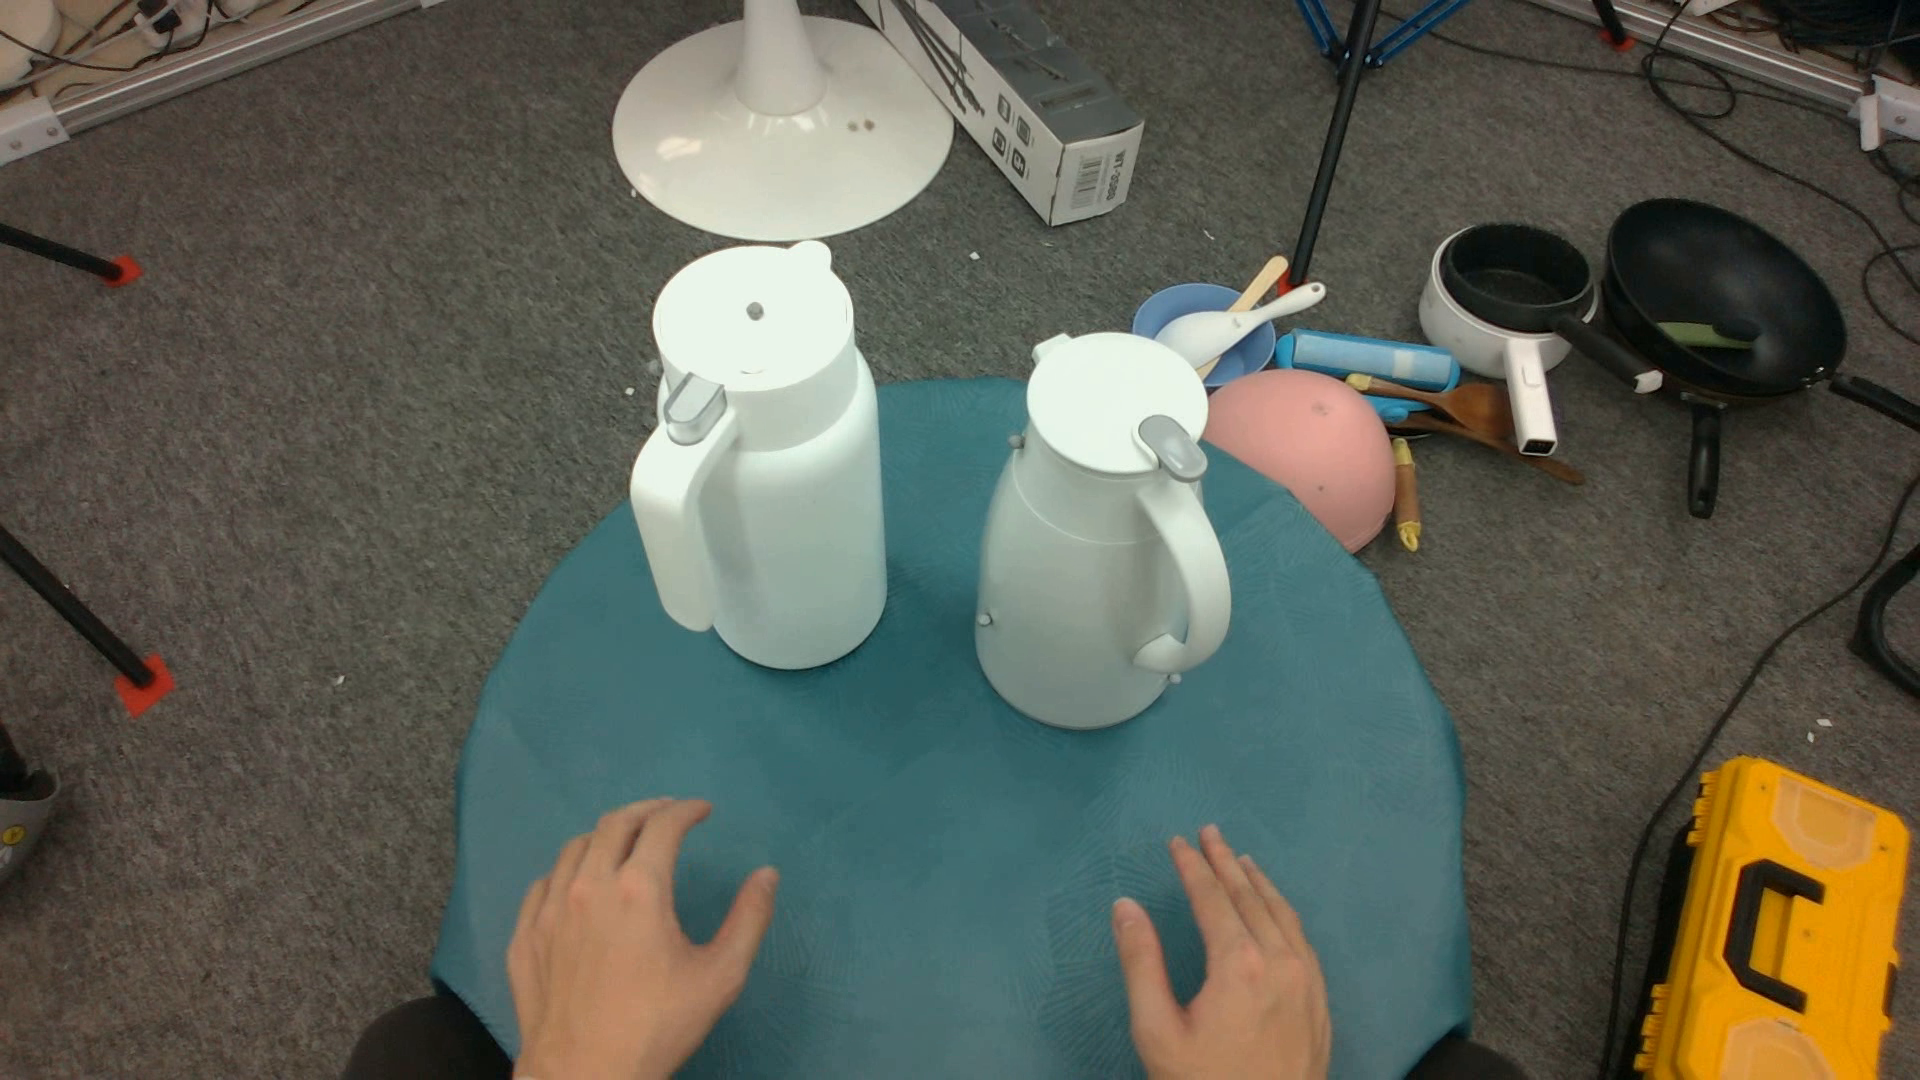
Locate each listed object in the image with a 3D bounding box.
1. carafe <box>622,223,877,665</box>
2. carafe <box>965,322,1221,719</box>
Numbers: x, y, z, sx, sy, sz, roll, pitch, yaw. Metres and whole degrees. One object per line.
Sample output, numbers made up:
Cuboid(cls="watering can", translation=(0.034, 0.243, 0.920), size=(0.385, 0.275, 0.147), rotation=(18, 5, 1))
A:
Cuboid(cls="carafe", translation=(-0.115, -0.027, 0.778), size=(0.124, 0.267, 0.173), rotation=(21, 58, 10))
Cuboid(cls="carafe", translation=(0.083, 0.002, 0.775), size=(0.133, 0.247, 0.168), rotation=(-26, 62, -18))
